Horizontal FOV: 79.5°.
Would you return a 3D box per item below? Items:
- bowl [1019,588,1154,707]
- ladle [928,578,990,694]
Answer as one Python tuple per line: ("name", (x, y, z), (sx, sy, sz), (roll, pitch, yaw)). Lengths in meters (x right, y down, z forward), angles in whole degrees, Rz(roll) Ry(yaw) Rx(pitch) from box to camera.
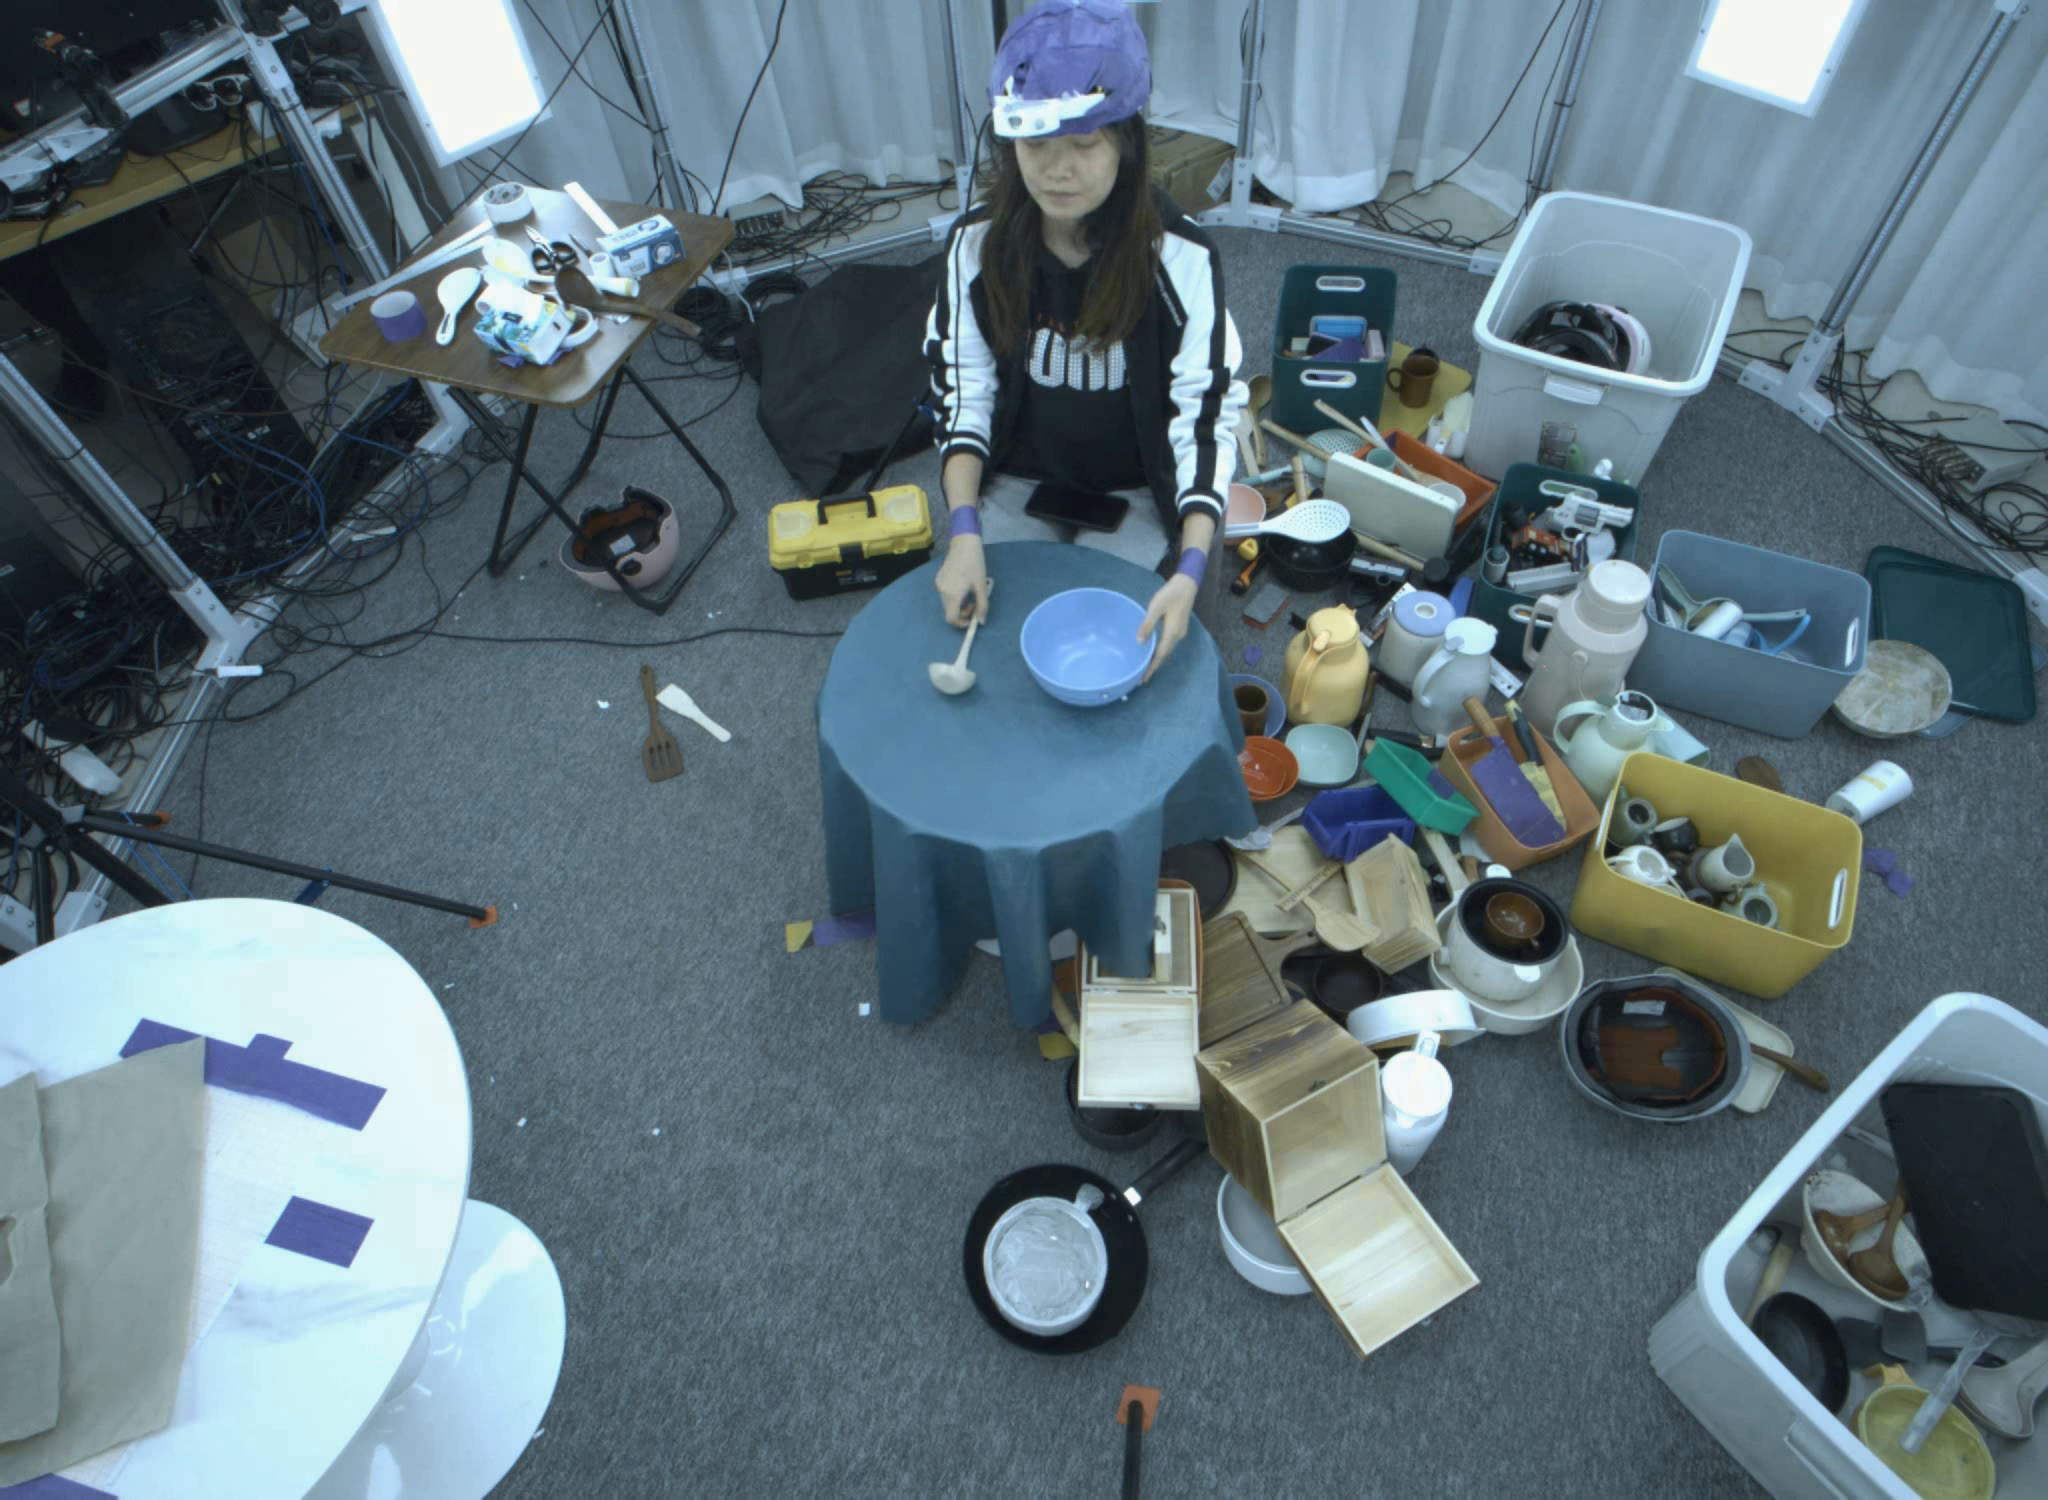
("bowl", (0.095, -0.136, 1.827), (0.196, 0.096, 0.194), (-2, 55, 4))
("ladle", (-0.088, -0.196, 1.883), (0.072, 0.073, 0.253), (9, 56, 7))
